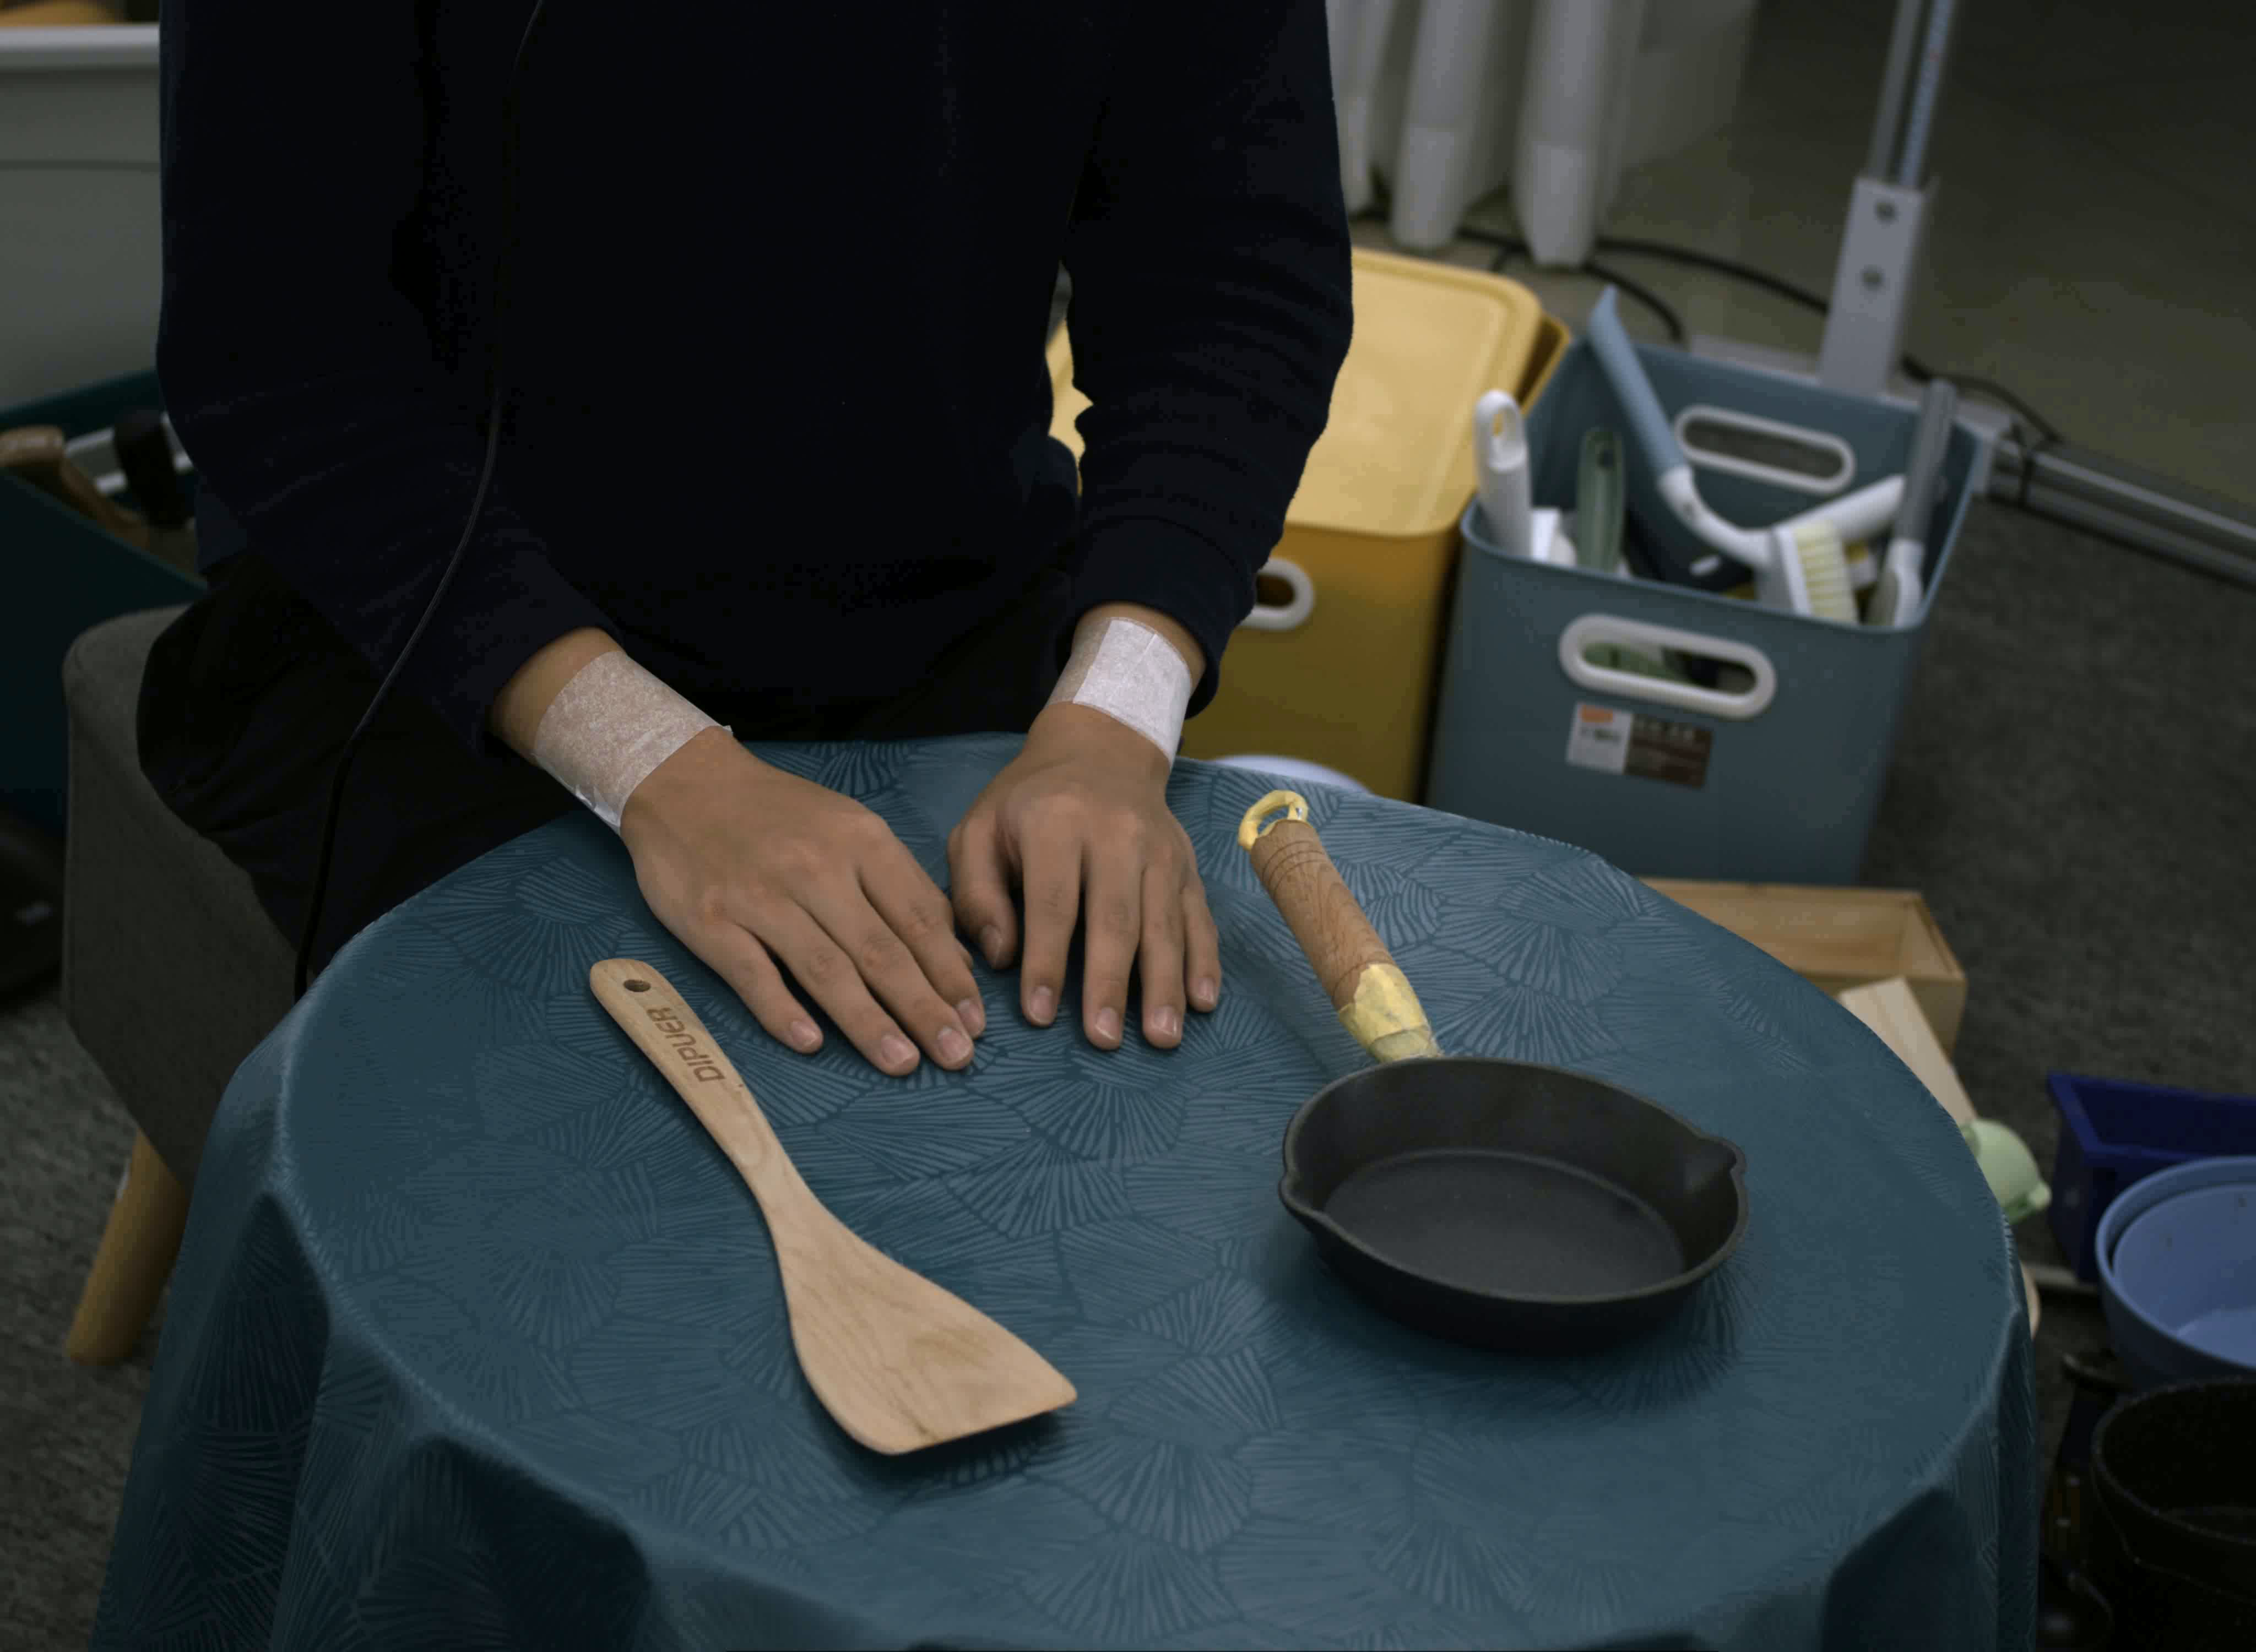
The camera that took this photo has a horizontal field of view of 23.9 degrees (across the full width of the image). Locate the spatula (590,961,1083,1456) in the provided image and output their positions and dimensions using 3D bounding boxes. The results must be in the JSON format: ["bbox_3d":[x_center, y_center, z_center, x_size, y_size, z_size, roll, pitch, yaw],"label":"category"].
[{"bbox_3d":[-0.112,0.120,1.766,0.079,0.016,0.330,-6,30,-25],"label":"spatula"}]

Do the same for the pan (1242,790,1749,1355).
[{"bbox_3d":[0.102,0.083,1.850,0.168,0.049,0.327,-3,30,-18],"label":"pan"}]
